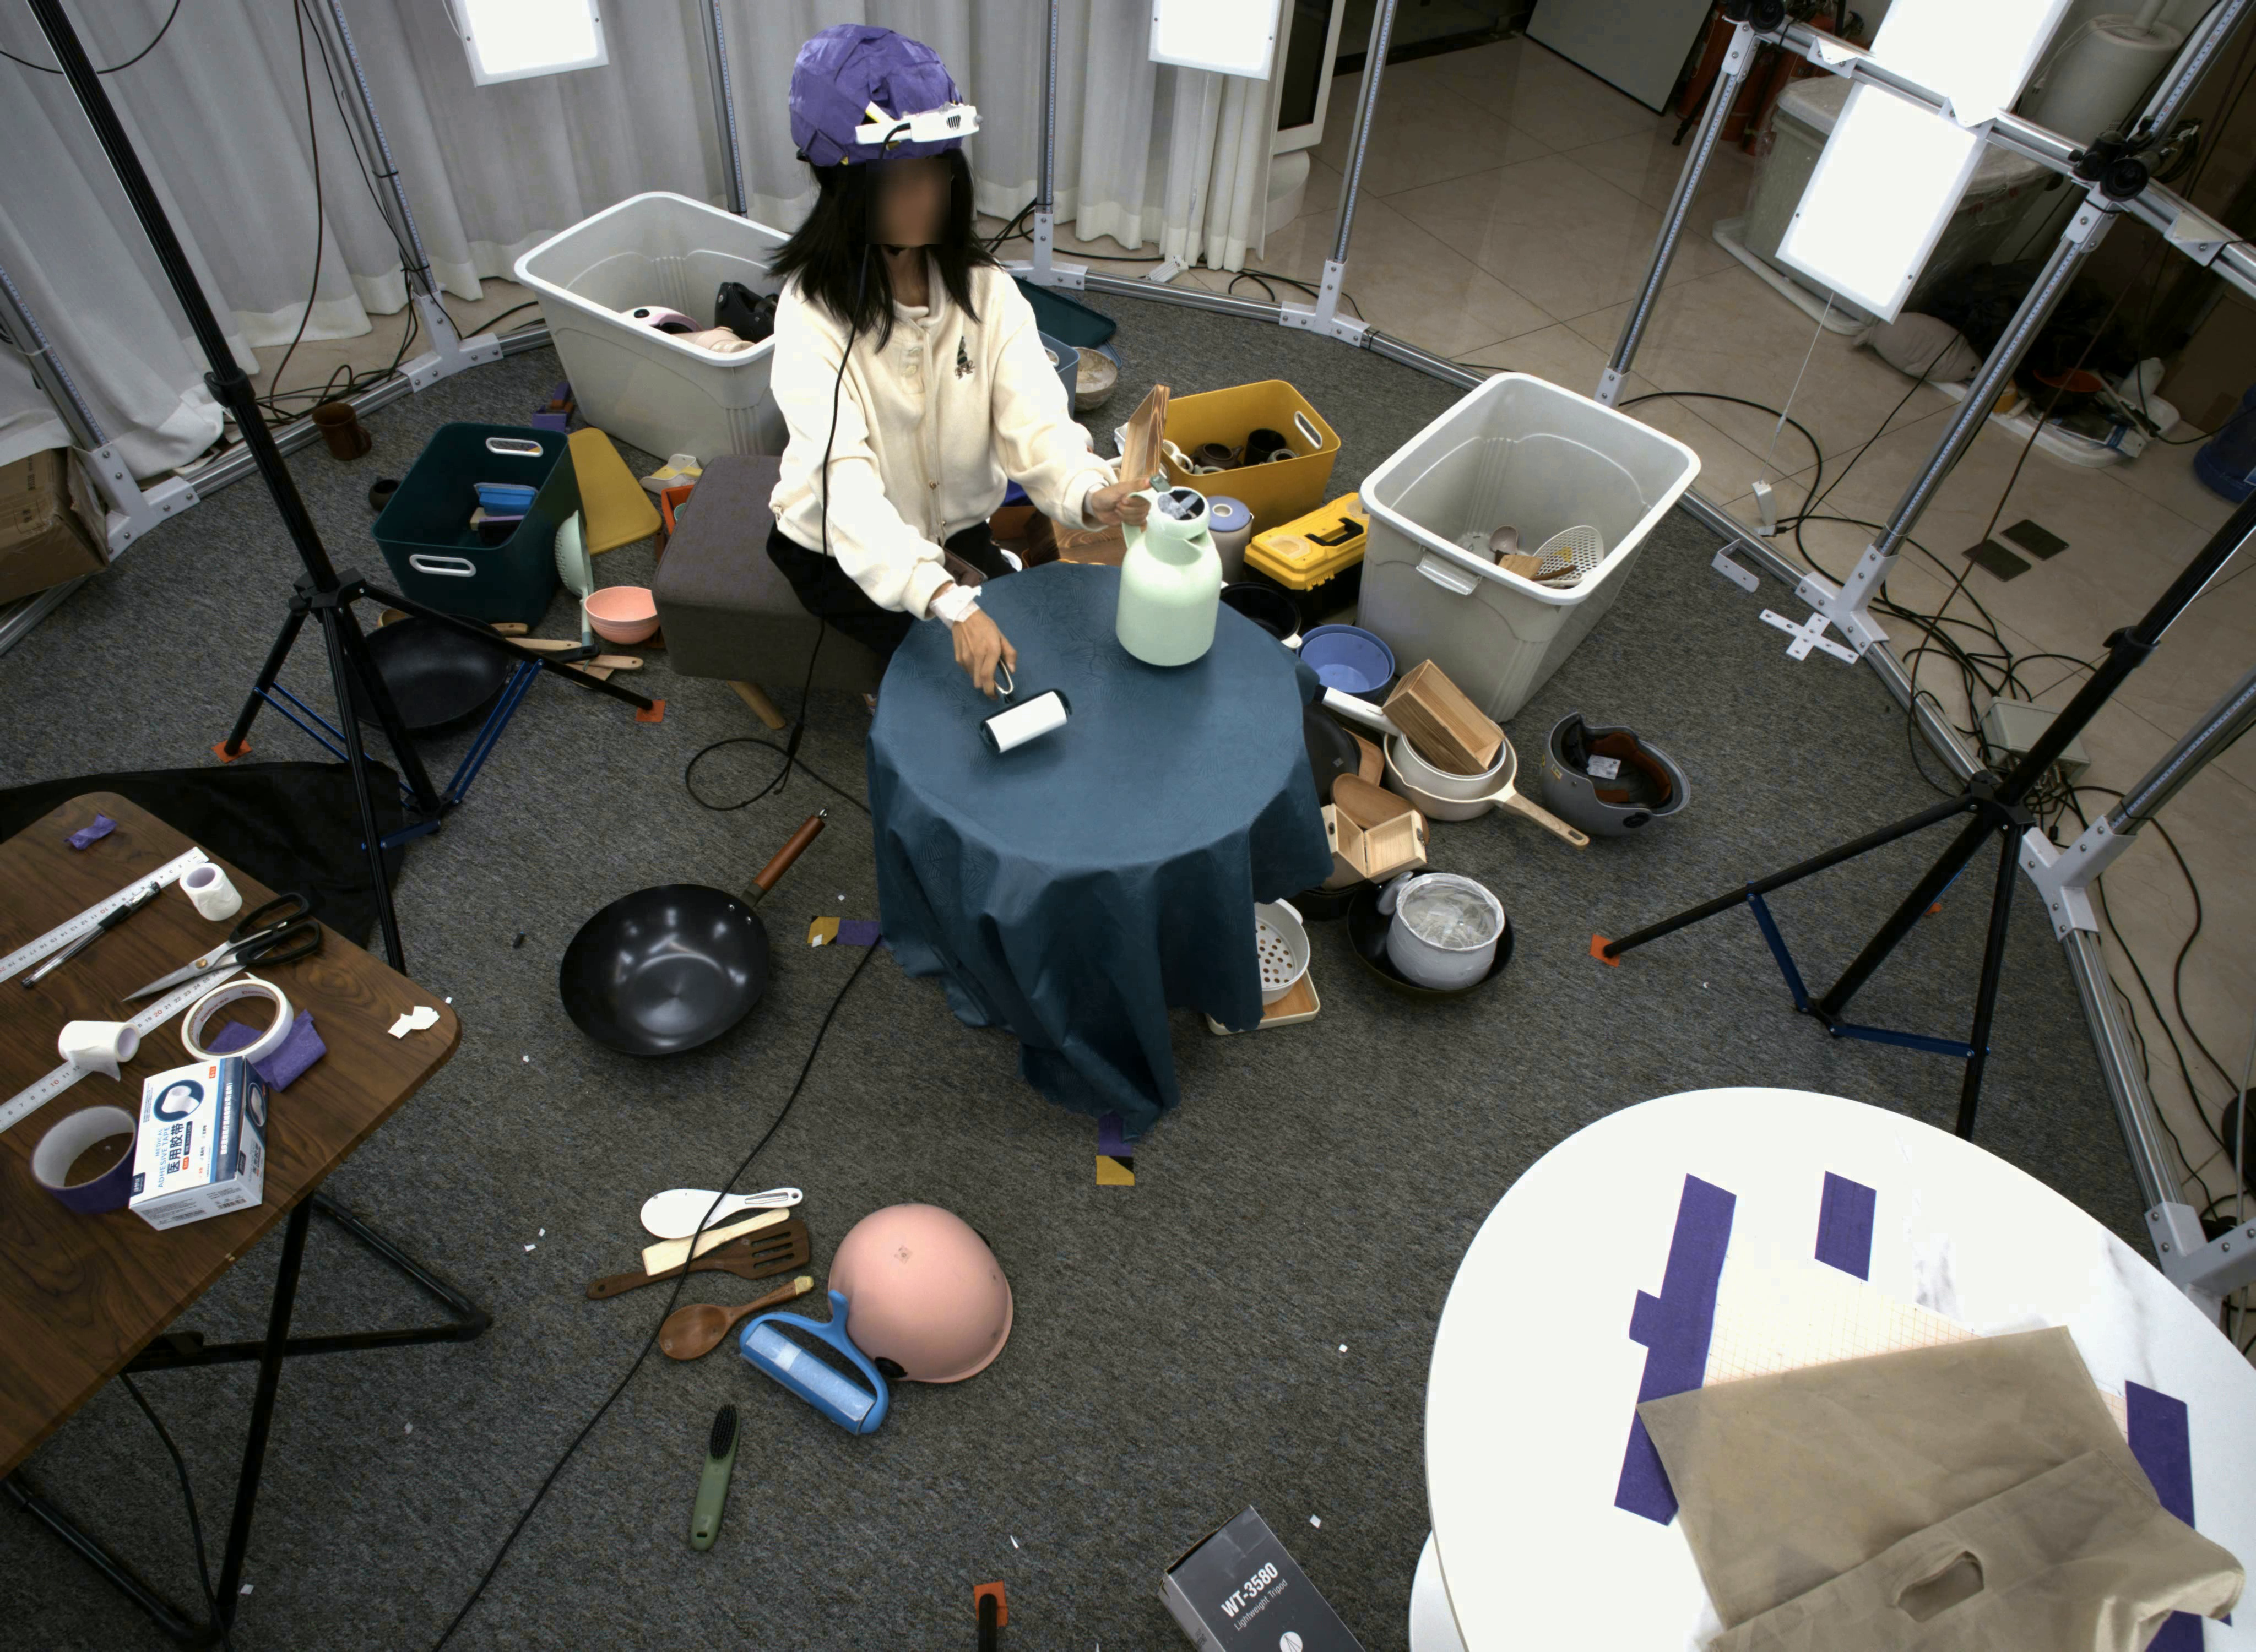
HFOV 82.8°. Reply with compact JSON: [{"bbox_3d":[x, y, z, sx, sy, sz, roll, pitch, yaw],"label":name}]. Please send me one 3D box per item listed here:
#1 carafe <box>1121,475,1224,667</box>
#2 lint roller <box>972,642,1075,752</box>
[{"bbox_3d":[0.055,-0.364,1.808,0.145,0.250,0.190,-27,56,-20],"label":"carafe"},{"bbox_3d":[-0.168,-0.194,1.748,0.134,0.047,0.183,-25,64,-12],"label":"lint roller"}]
